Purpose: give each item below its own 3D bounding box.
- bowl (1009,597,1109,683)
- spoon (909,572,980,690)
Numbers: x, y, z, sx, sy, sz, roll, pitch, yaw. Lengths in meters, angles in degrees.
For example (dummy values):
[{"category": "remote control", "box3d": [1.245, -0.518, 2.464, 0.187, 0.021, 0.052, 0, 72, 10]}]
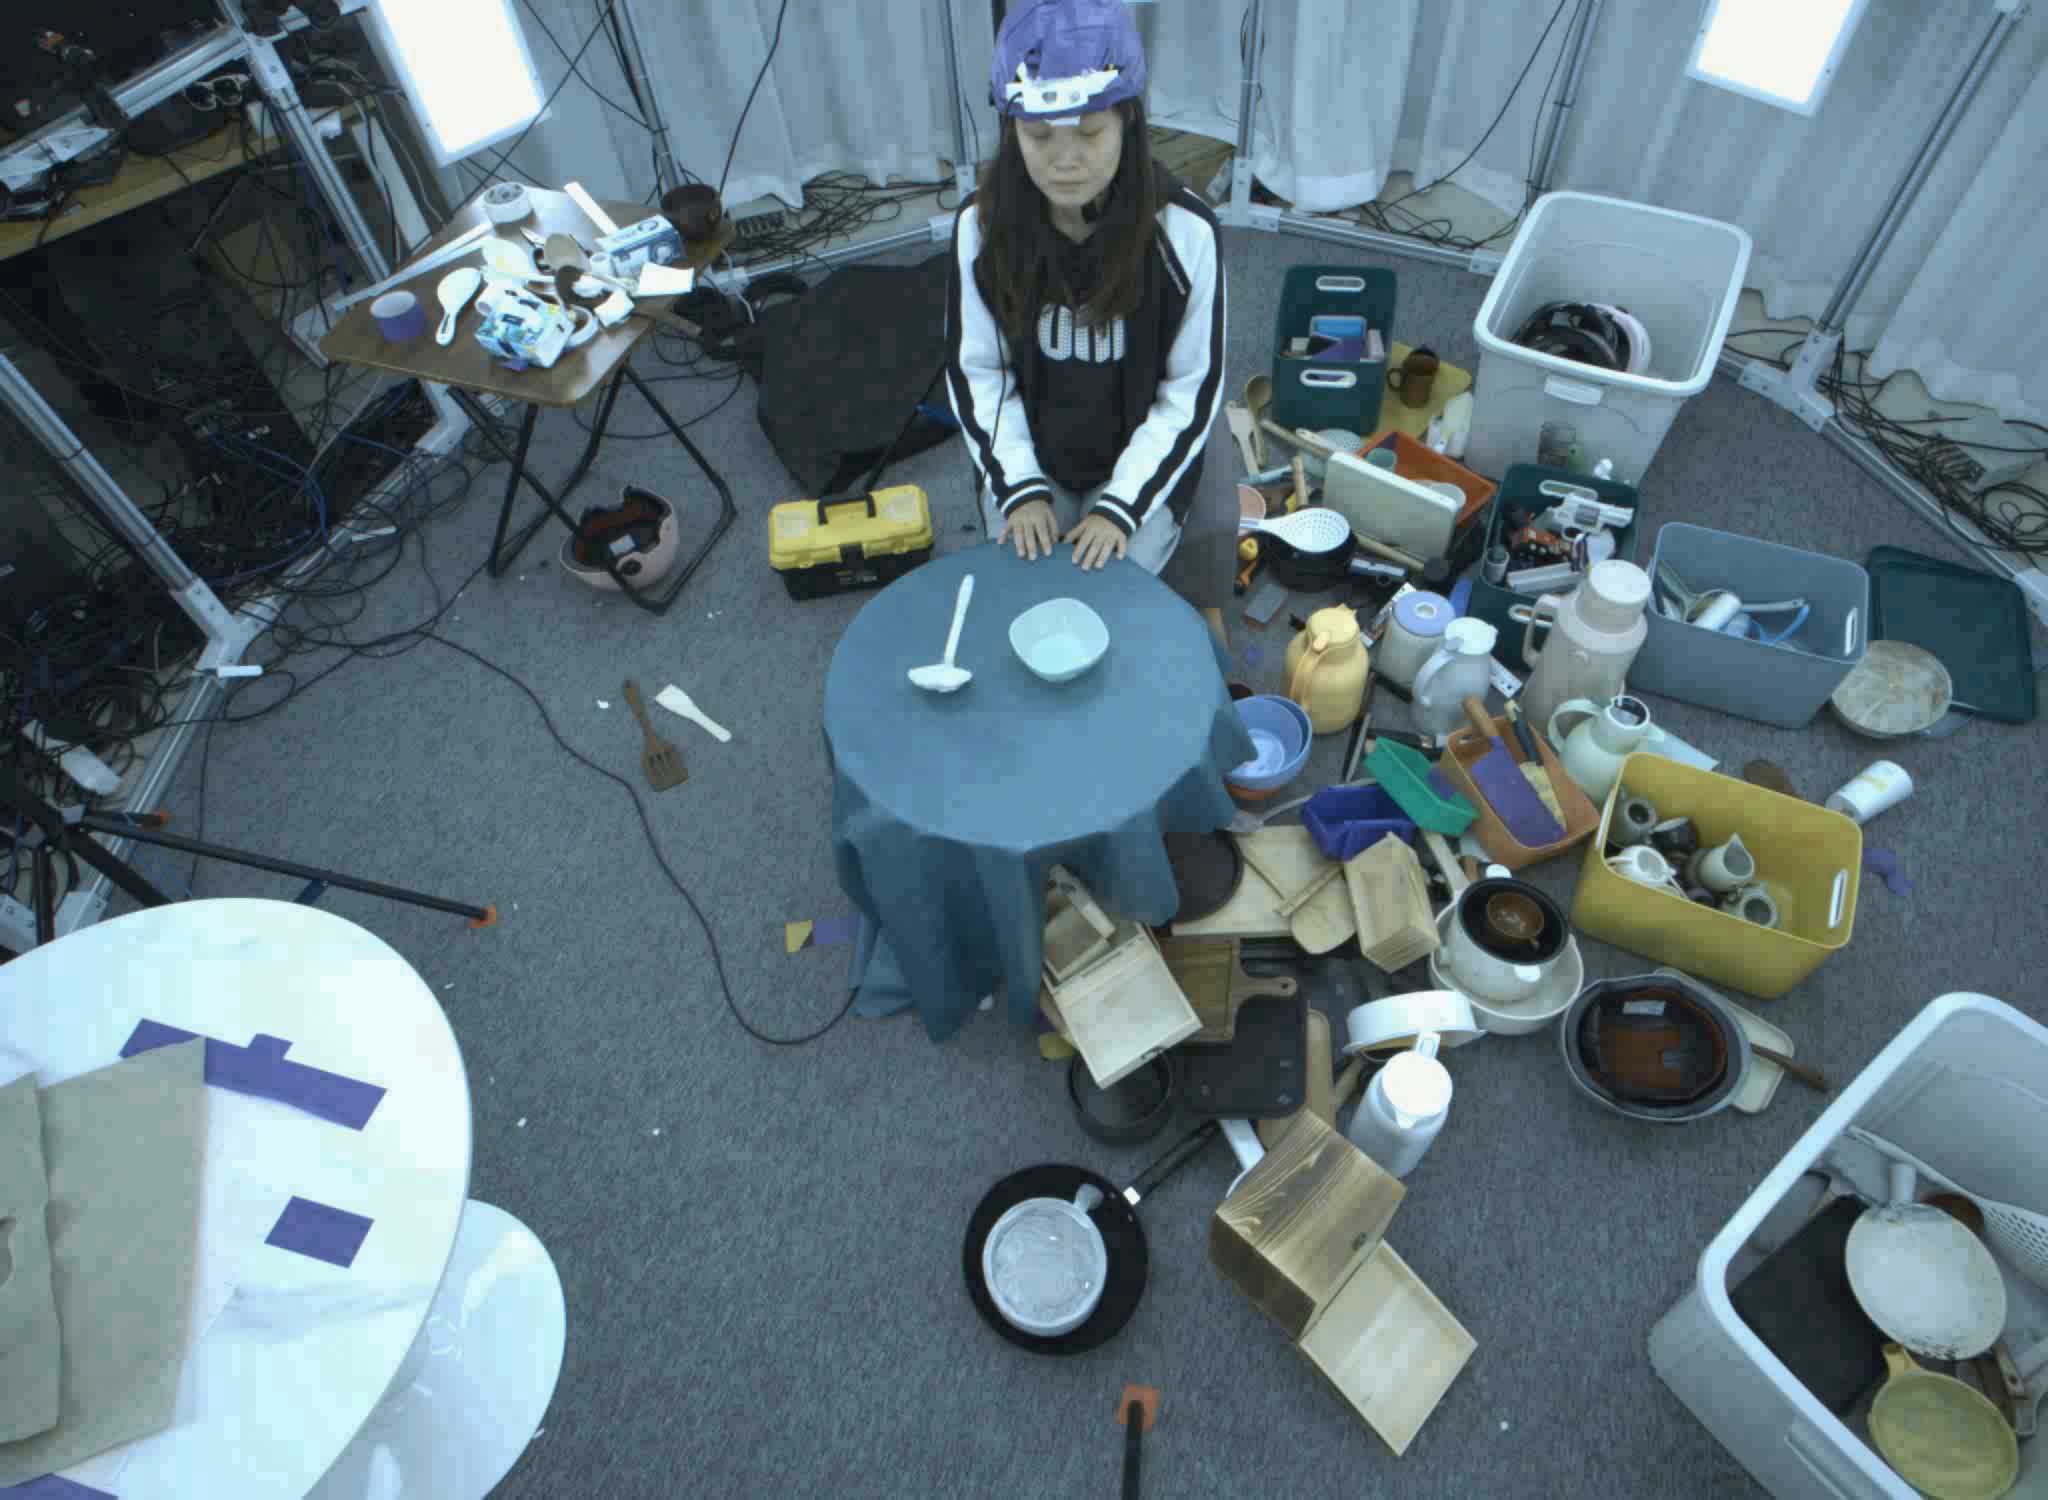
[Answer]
[{"category": "bowl", "box3d": [0.053, -0.157, 1.864, 0.151, 0.059, 0.150, -1, 56, 2]}, {"category": "spoon", "box3d": [-0.102, -0.191, 1.891, 0.100, 0.060, 0.276, 11, 56, 5]}]
